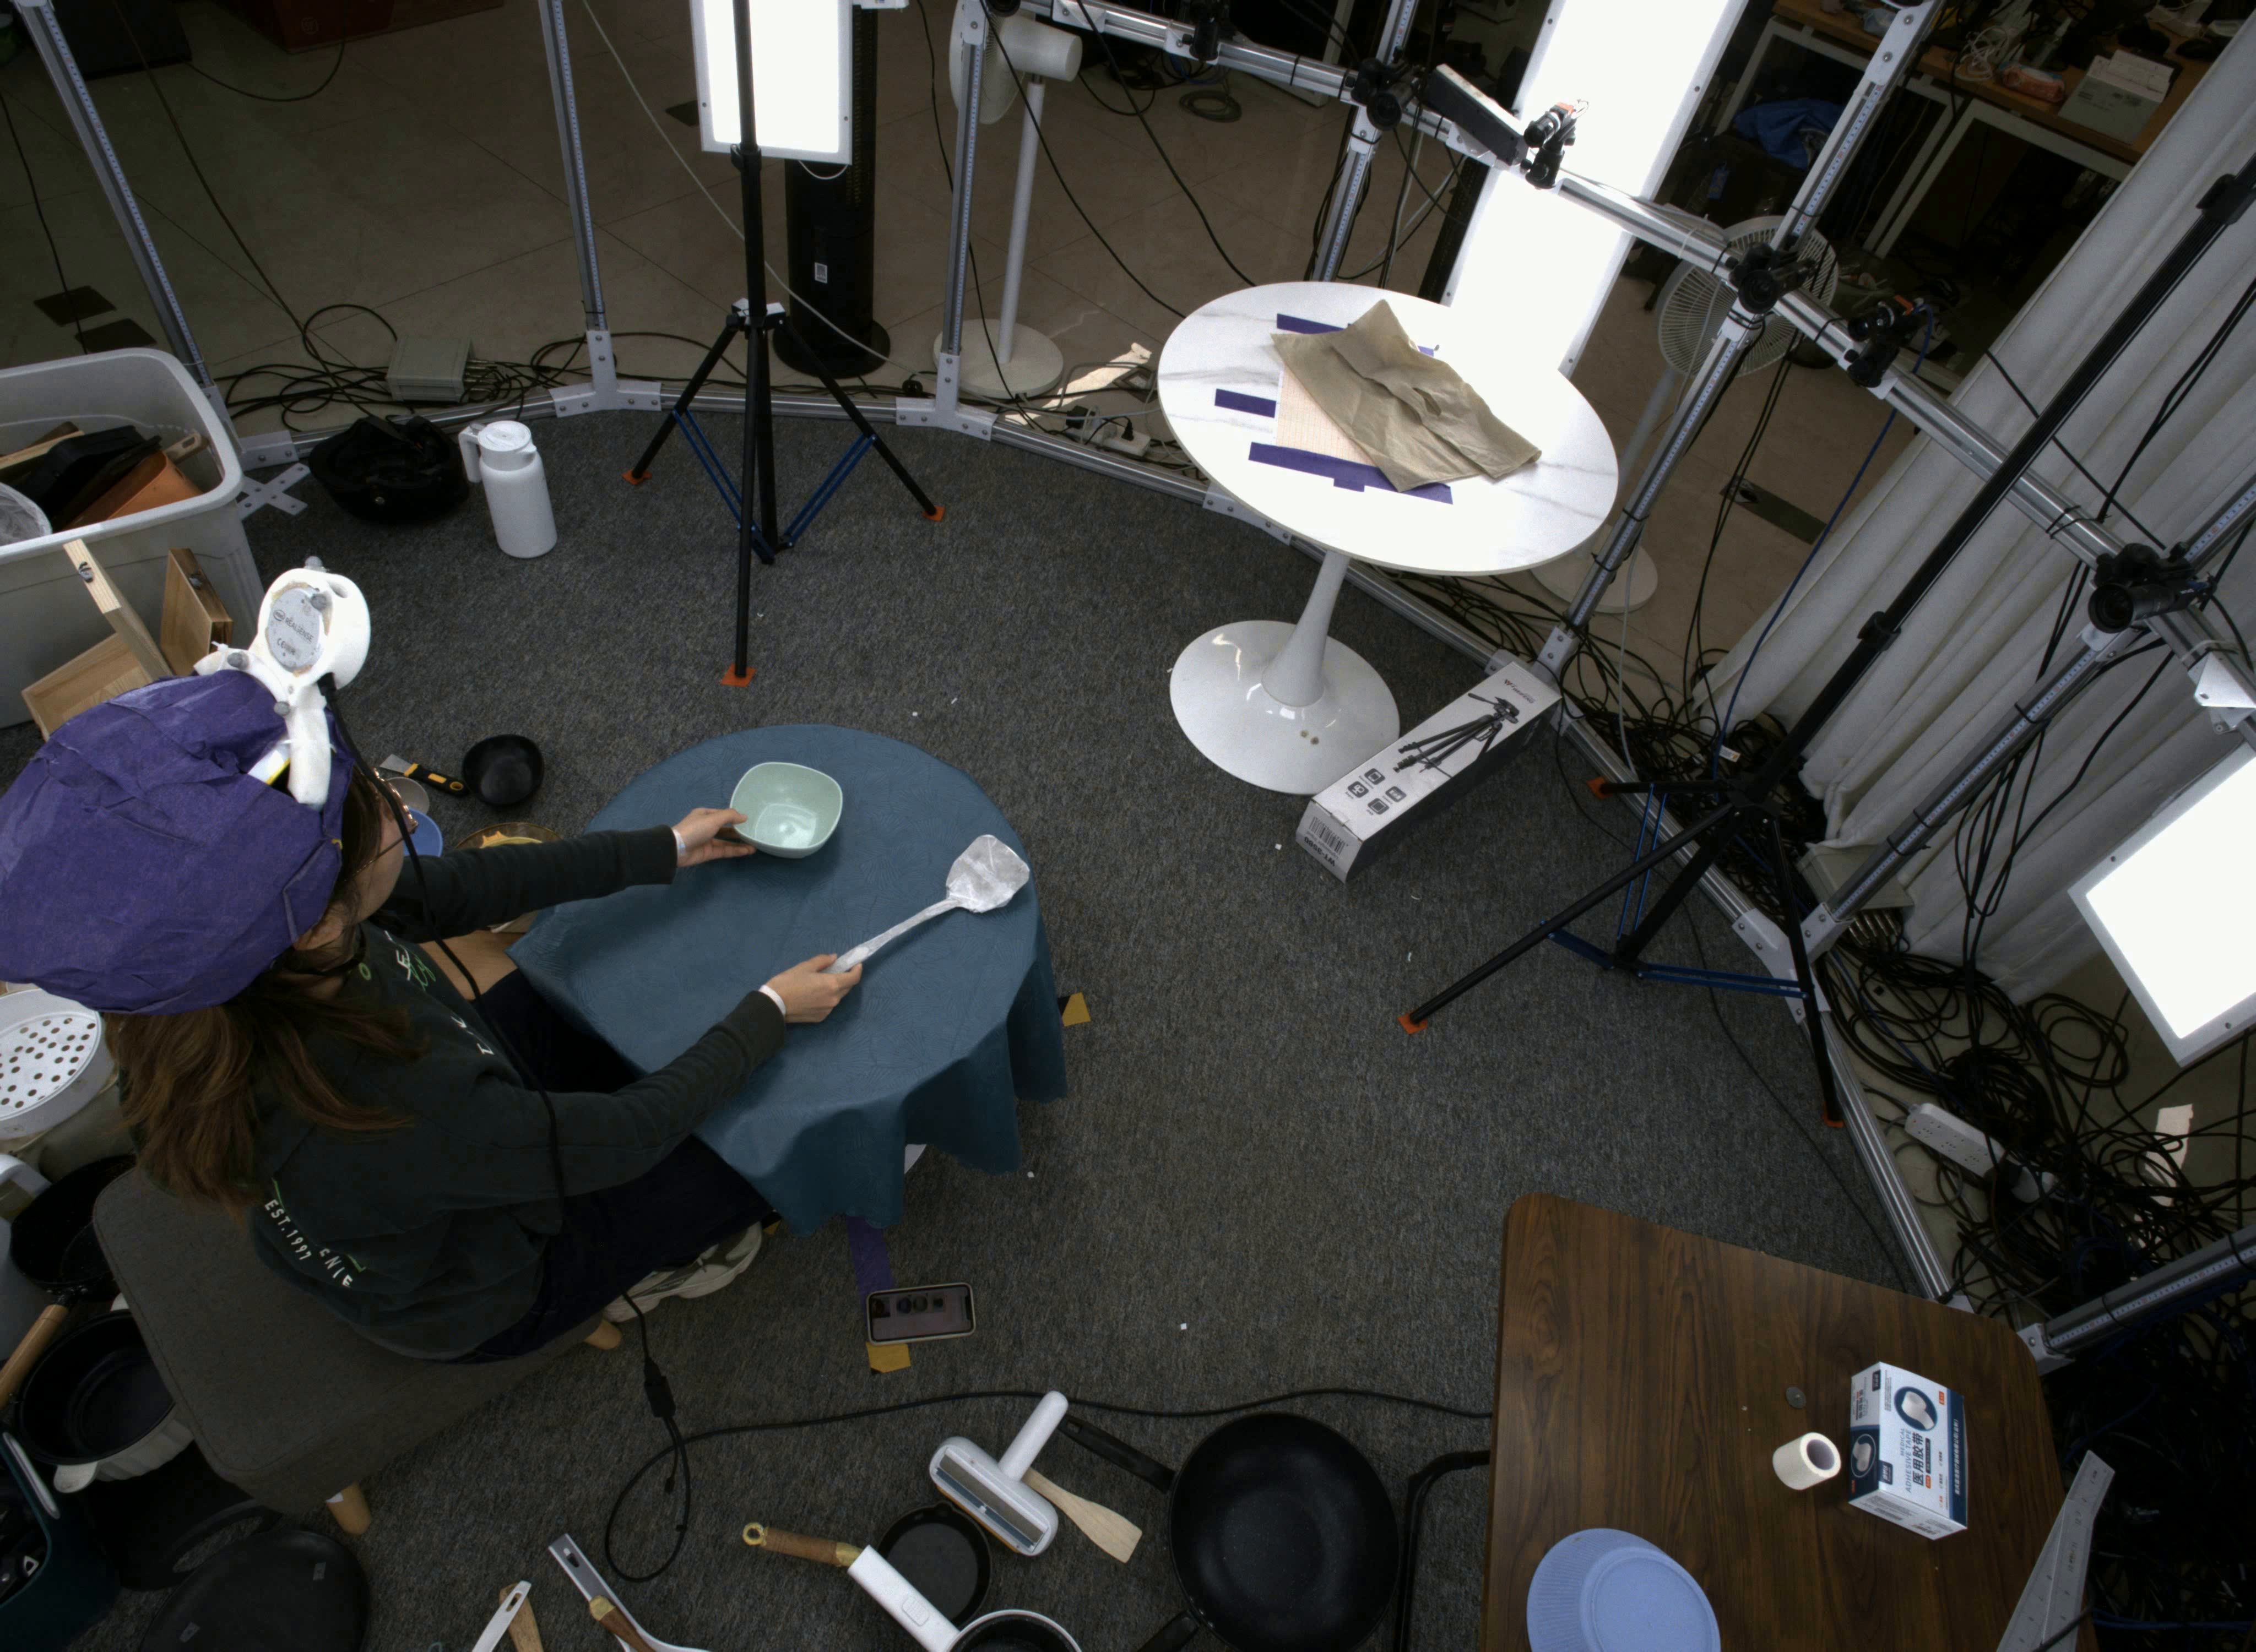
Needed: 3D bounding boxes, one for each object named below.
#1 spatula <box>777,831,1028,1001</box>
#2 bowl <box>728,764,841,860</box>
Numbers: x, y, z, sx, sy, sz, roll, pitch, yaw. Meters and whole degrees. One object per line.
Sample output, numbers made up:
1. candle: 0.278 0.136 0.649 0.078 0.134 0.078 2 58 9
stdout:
1. spatula: -0.284 0.119 1.644 0.366 0.046 0.096 -31 64 -35
2. bowl: -0.448 -0.010 1.691 0.151 0.060 0.148 11 48 -11
